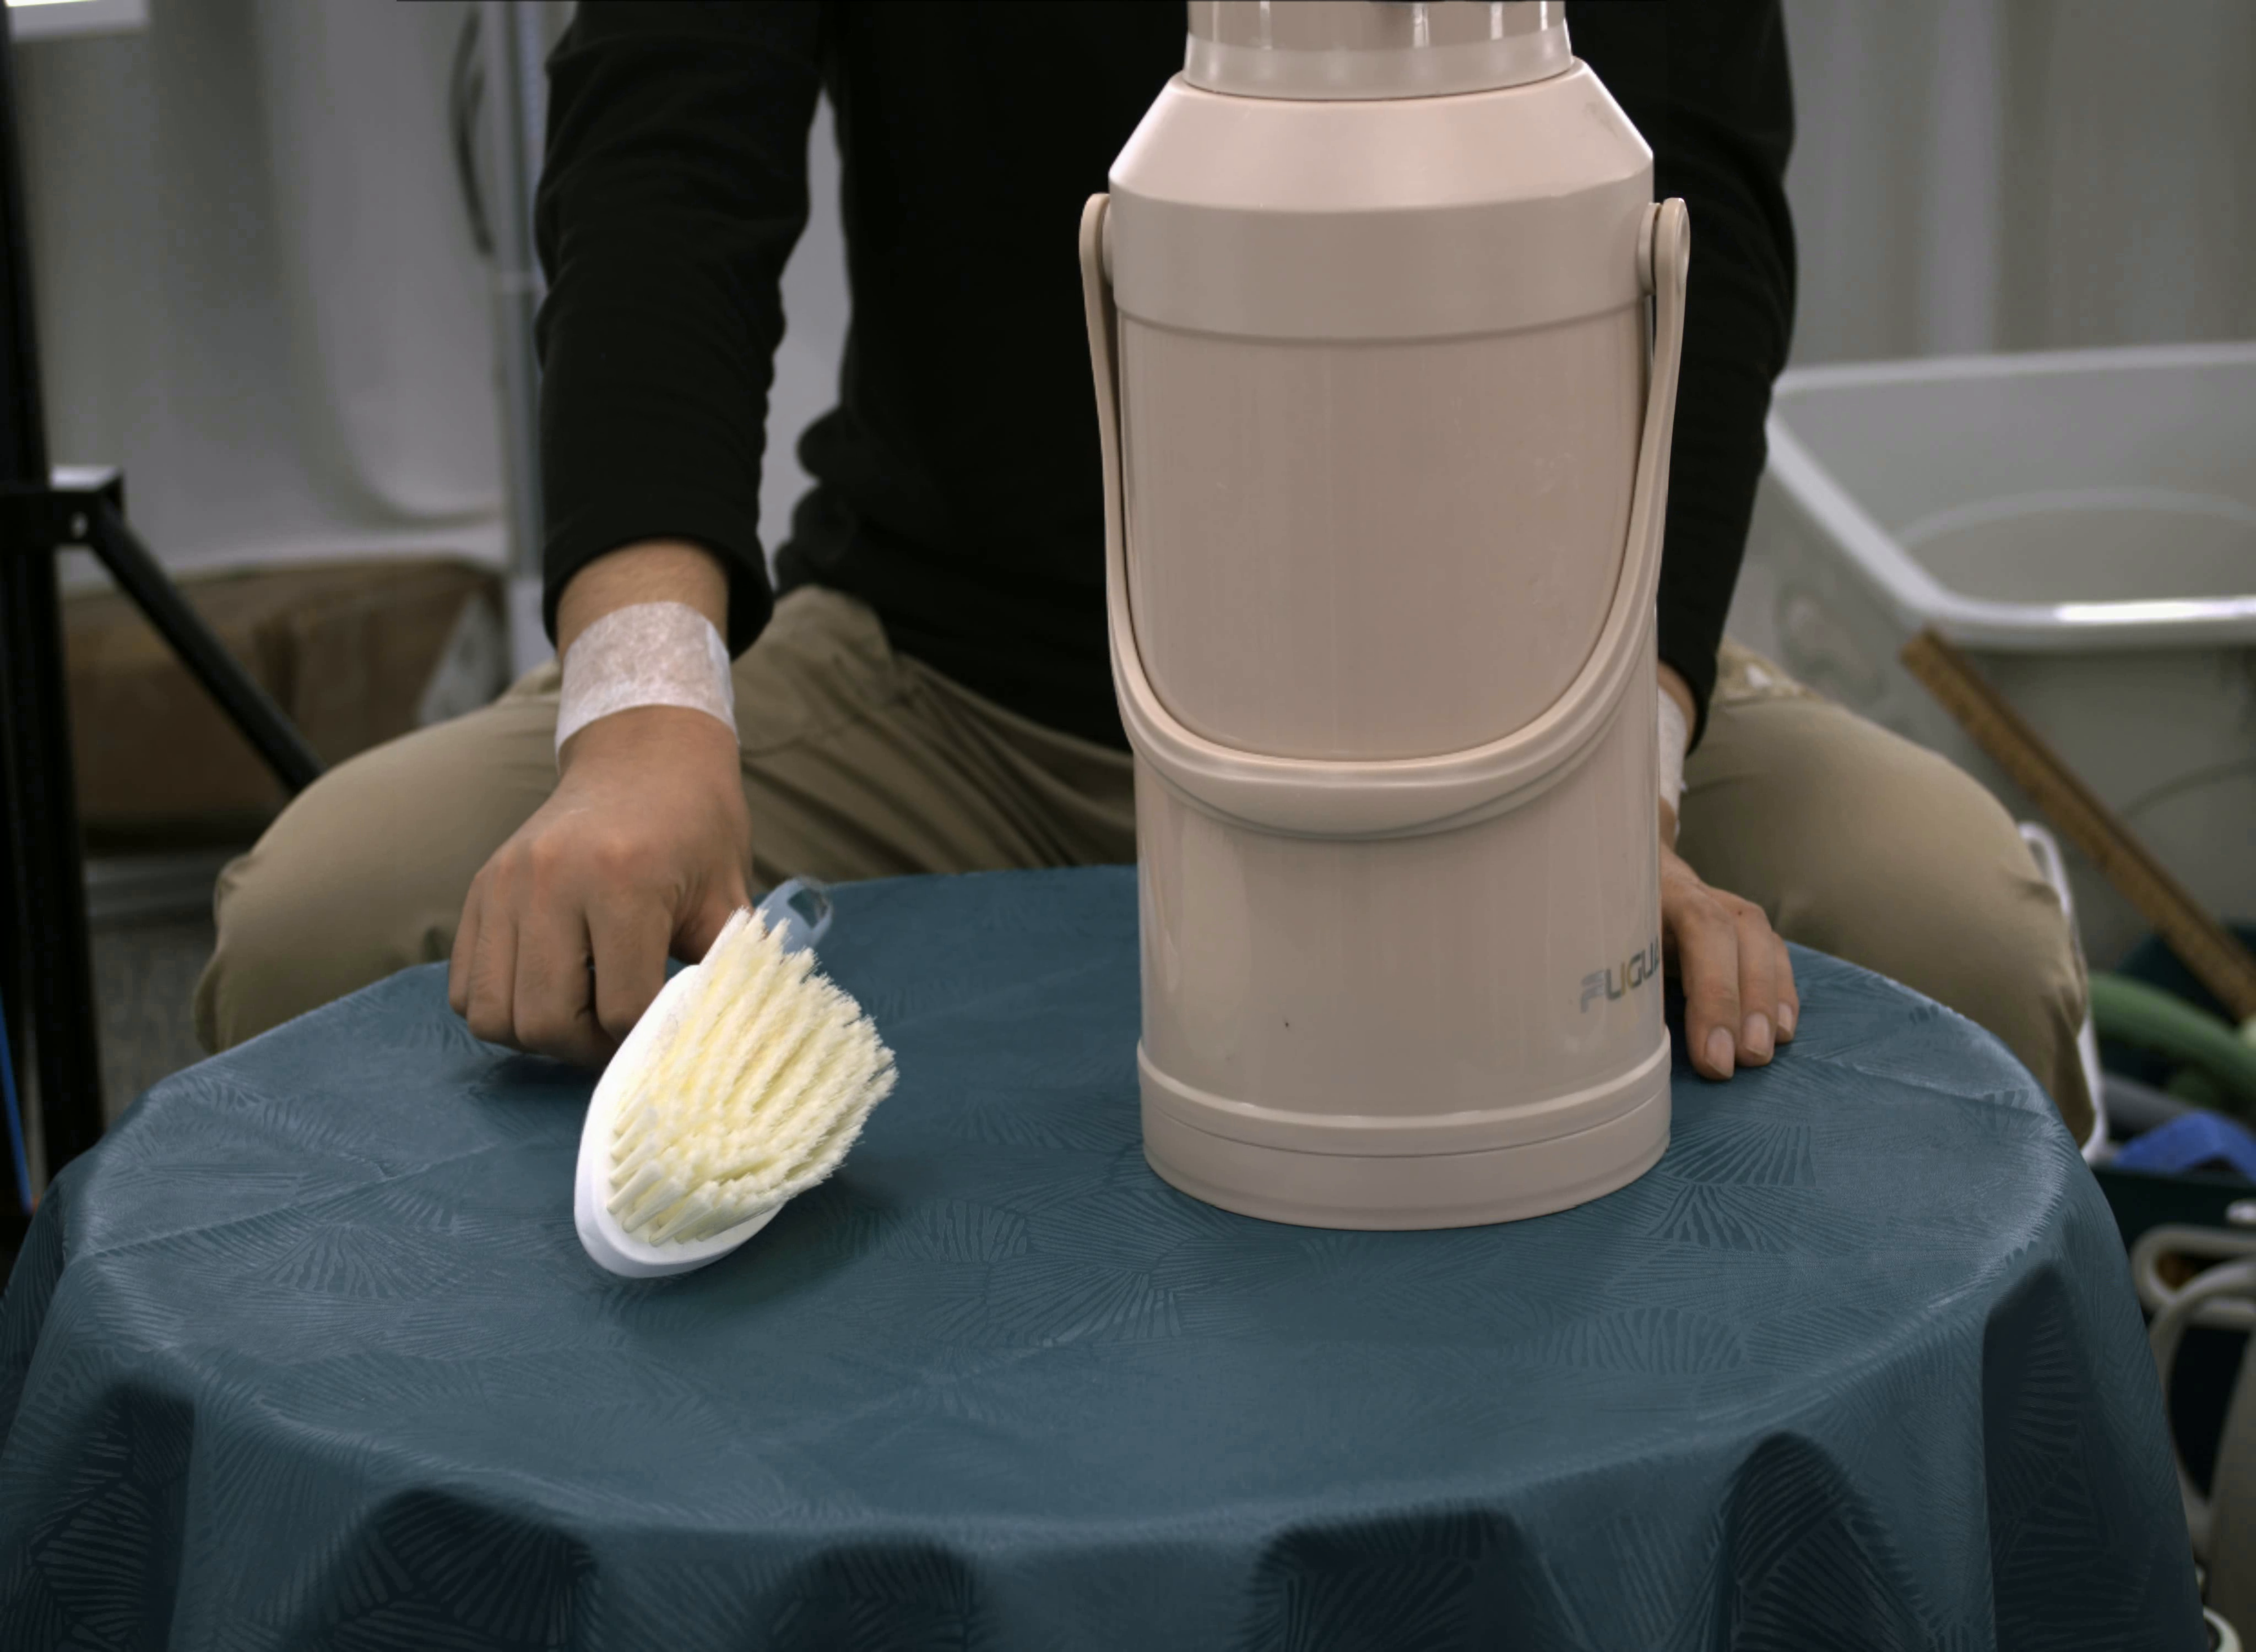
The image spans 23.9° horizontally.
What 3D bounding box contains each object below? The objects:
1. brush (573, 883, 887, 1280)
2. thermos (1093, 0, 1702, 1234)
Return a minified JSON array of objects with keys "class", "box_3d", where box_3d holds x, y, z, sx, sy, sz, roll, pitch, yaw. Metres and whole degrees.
[{"class":"brush","box_3d":[-0.107,0.051,1.635,0.085,0.083,0.325,-2,16,7]},{"class":"thermos","box_3d":[0.084,-0.100,1.551,0.177,0.406,0.205,1,15,17]}]
